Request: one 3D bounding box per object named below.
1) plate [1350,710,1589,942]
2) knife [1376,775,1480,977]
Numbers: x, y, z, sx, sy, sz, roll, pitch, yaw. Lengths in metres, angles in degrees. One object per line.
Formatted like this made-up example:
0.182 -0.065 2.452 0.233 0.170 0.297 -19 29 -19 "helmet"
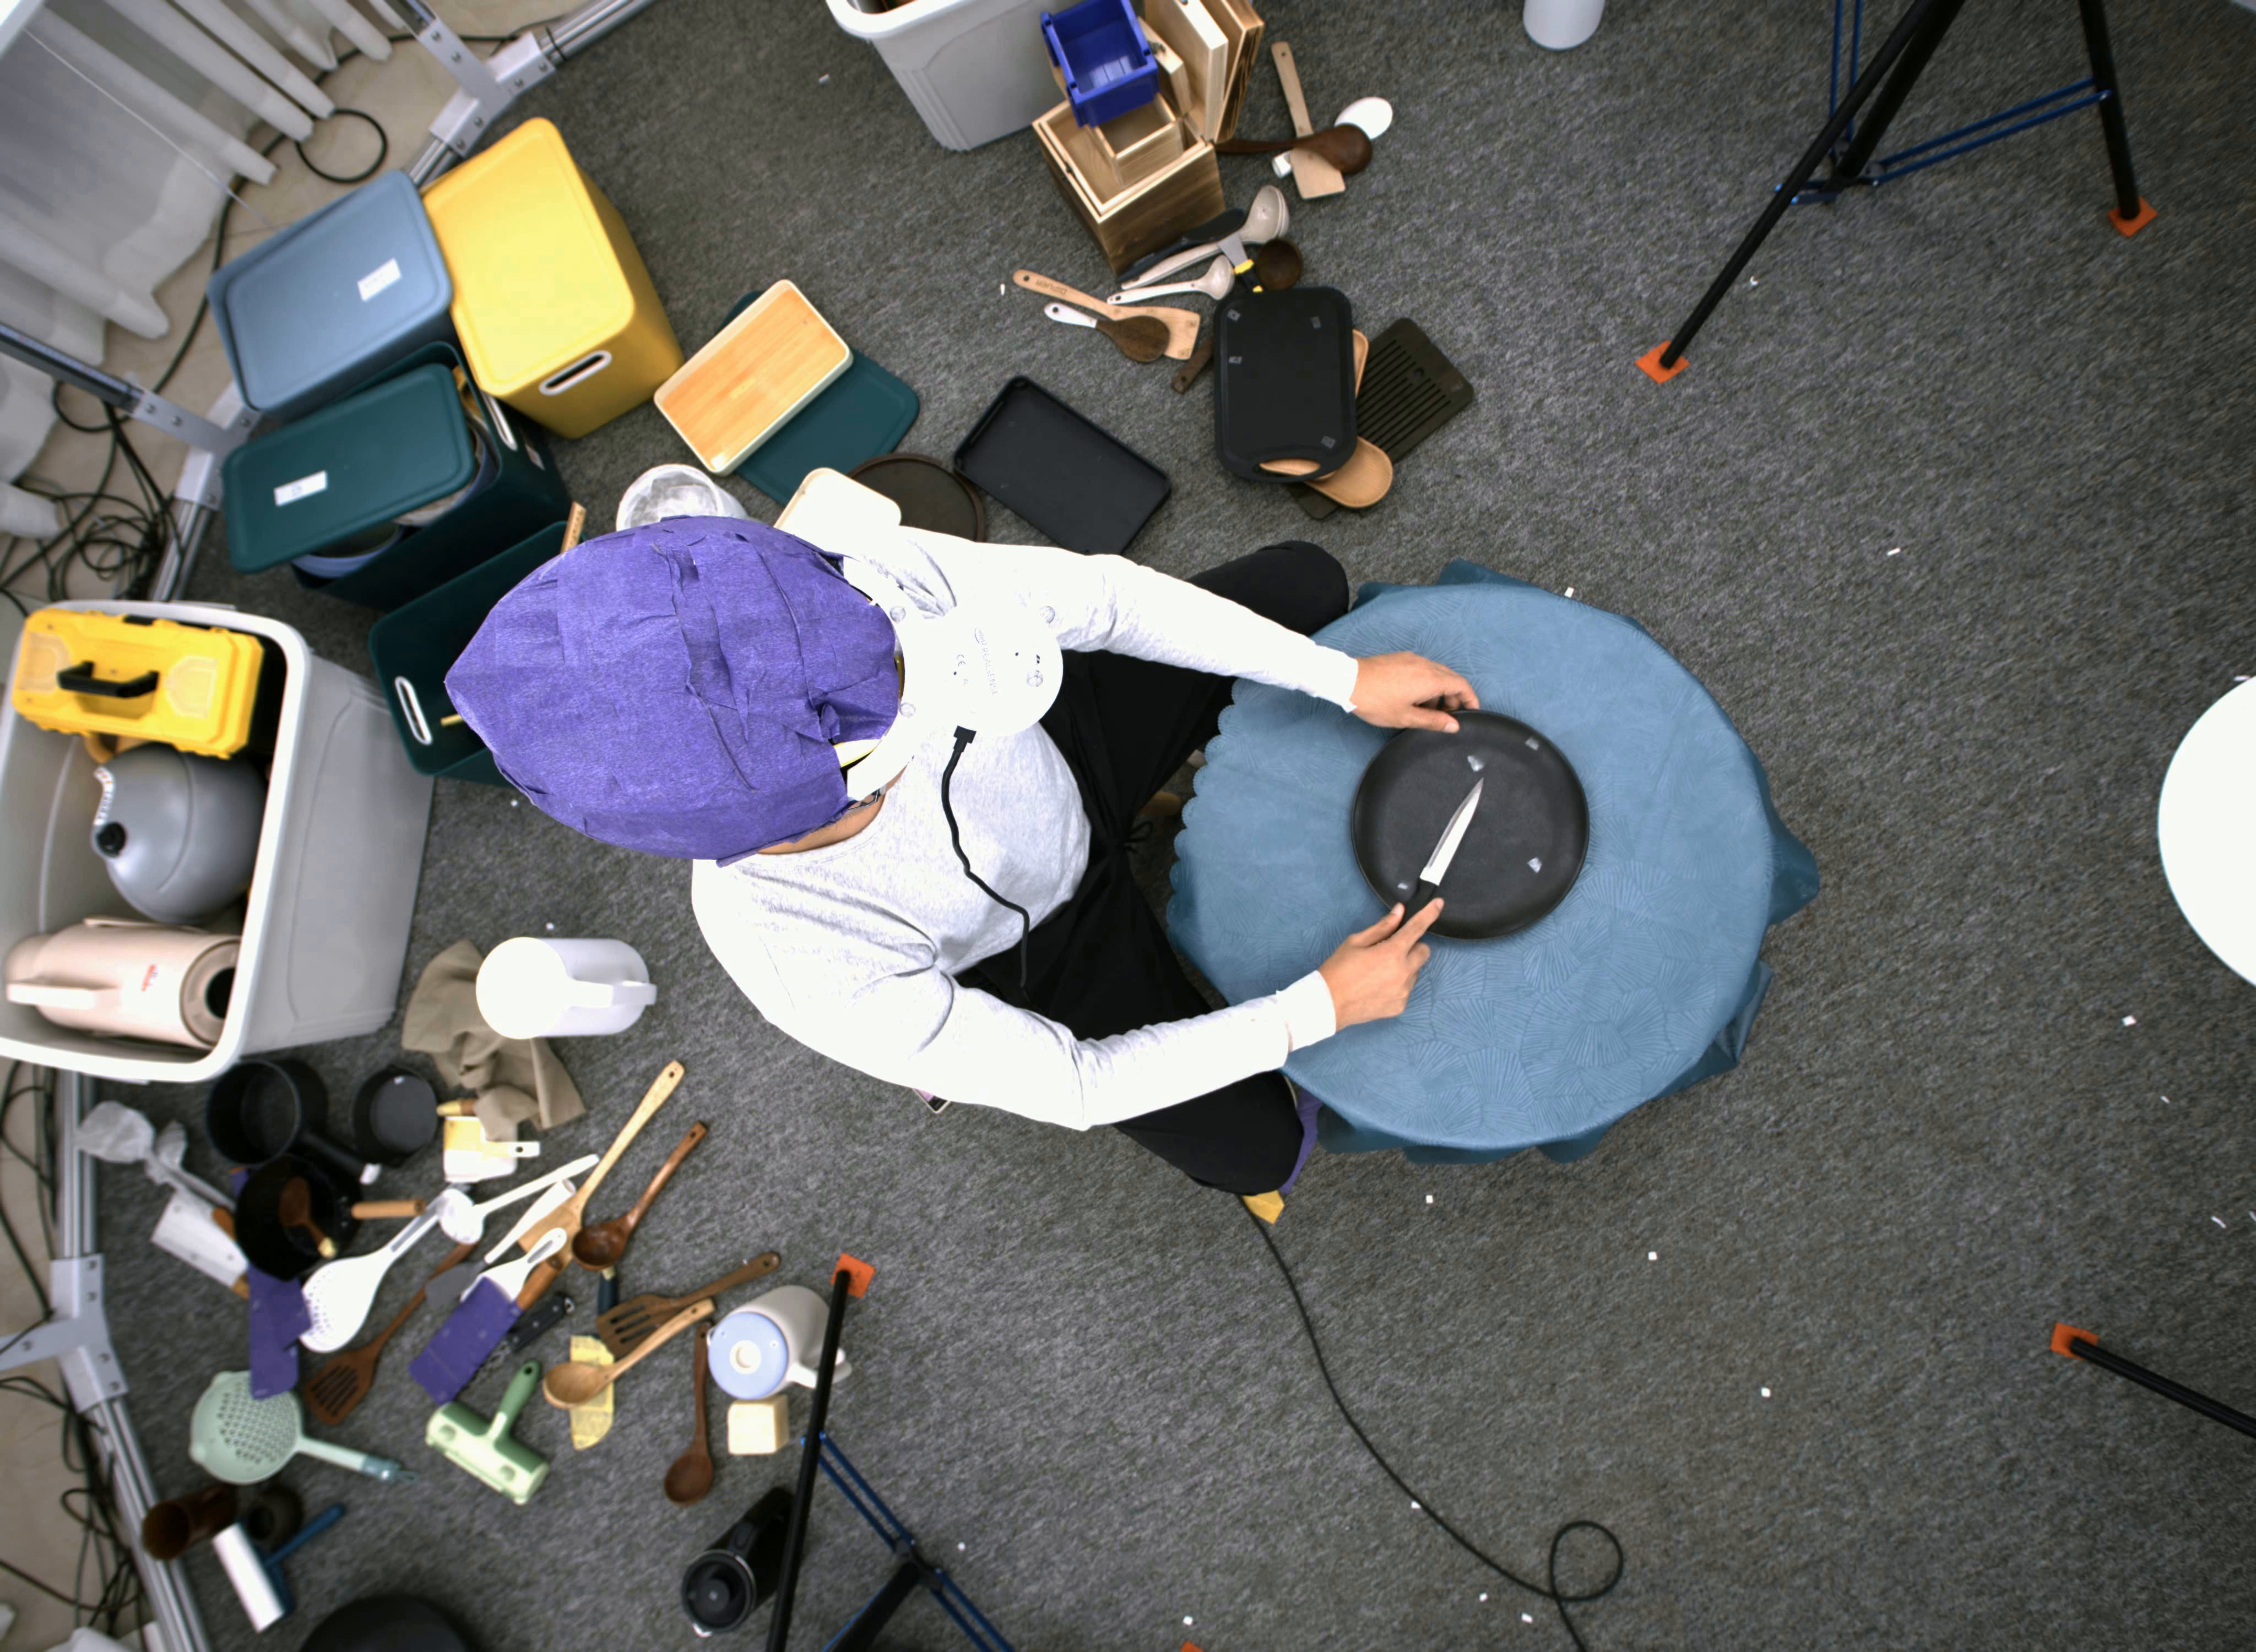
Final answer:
0.355 -0.002 1.436 0.245 0.023 0.243 -1 87 10 "plate"
0.316 0.050 1.427 0.024 0.016 0.237 25 84 29 "knife"
